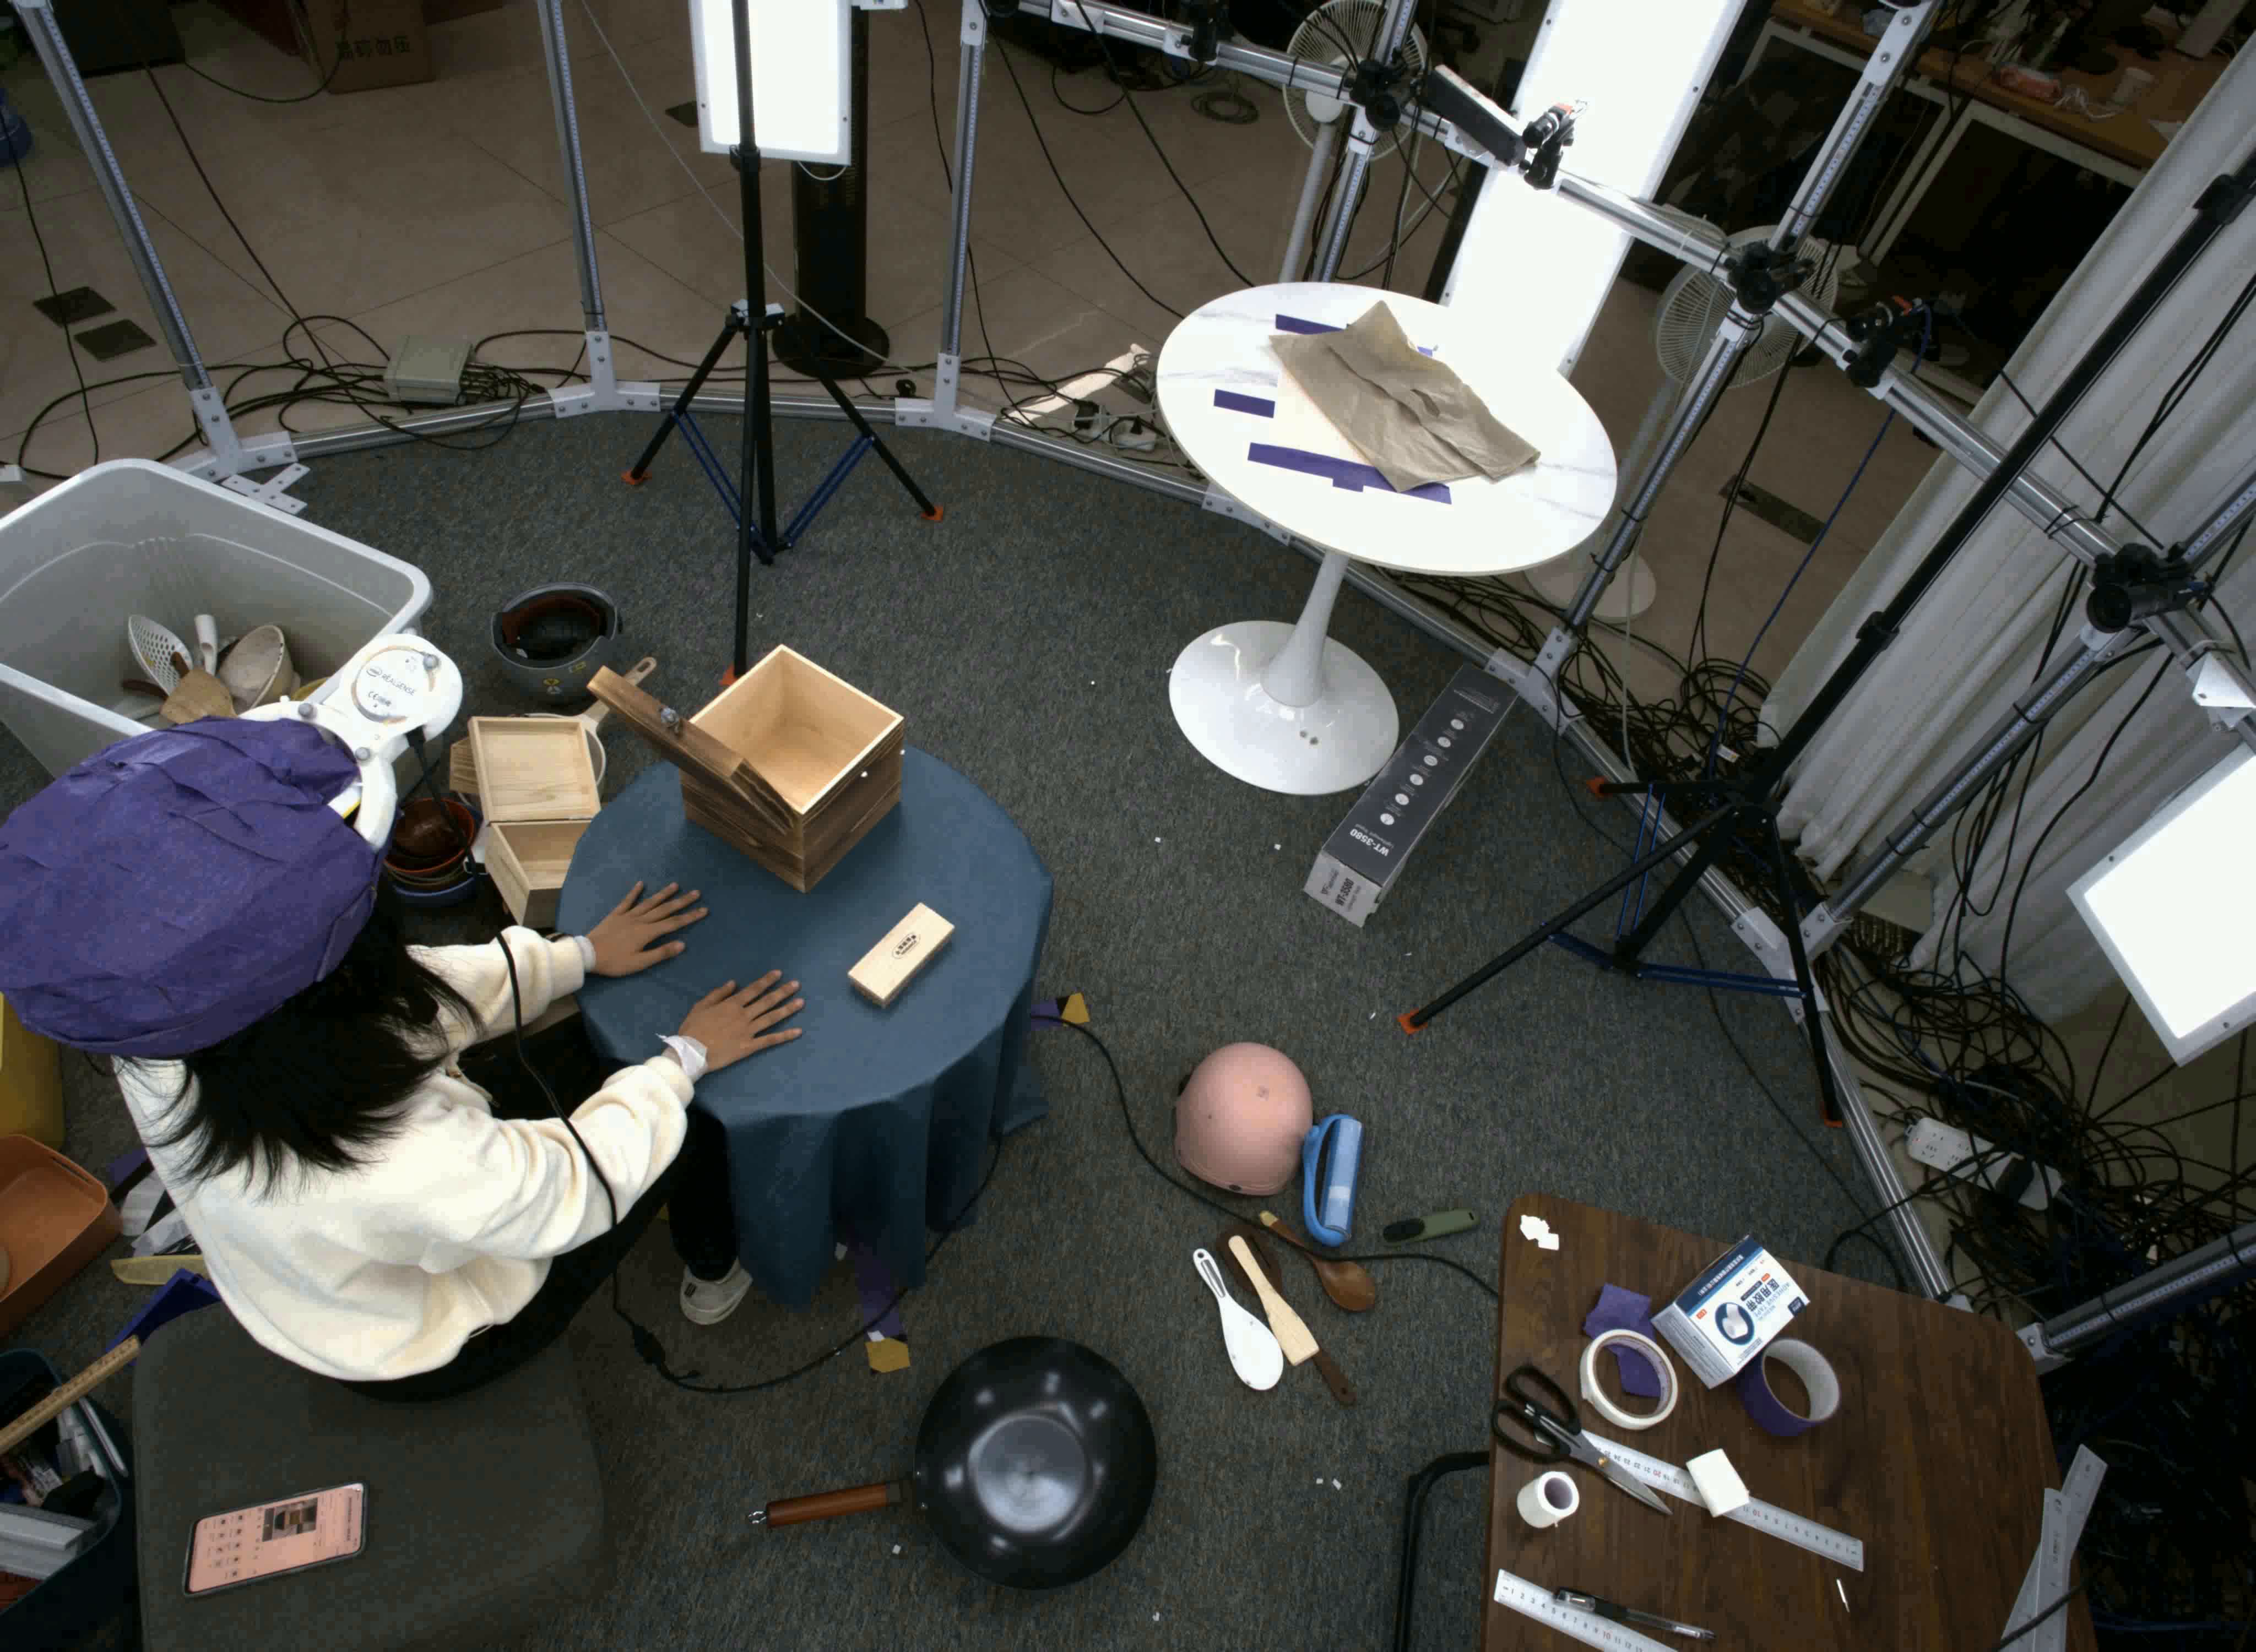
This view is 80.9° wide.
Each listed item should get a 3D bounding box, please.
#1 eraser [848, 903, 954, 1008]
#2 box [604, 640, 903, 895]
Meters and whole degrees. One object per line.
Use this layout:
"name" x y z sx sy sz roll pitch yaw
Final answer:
"eraser" -0.282 0.158 1.620 0.056 0.029 0.139 36 54 10
"box" -0.442 -0.105 1.557 0.205 0.383 0.321 30 52 10
